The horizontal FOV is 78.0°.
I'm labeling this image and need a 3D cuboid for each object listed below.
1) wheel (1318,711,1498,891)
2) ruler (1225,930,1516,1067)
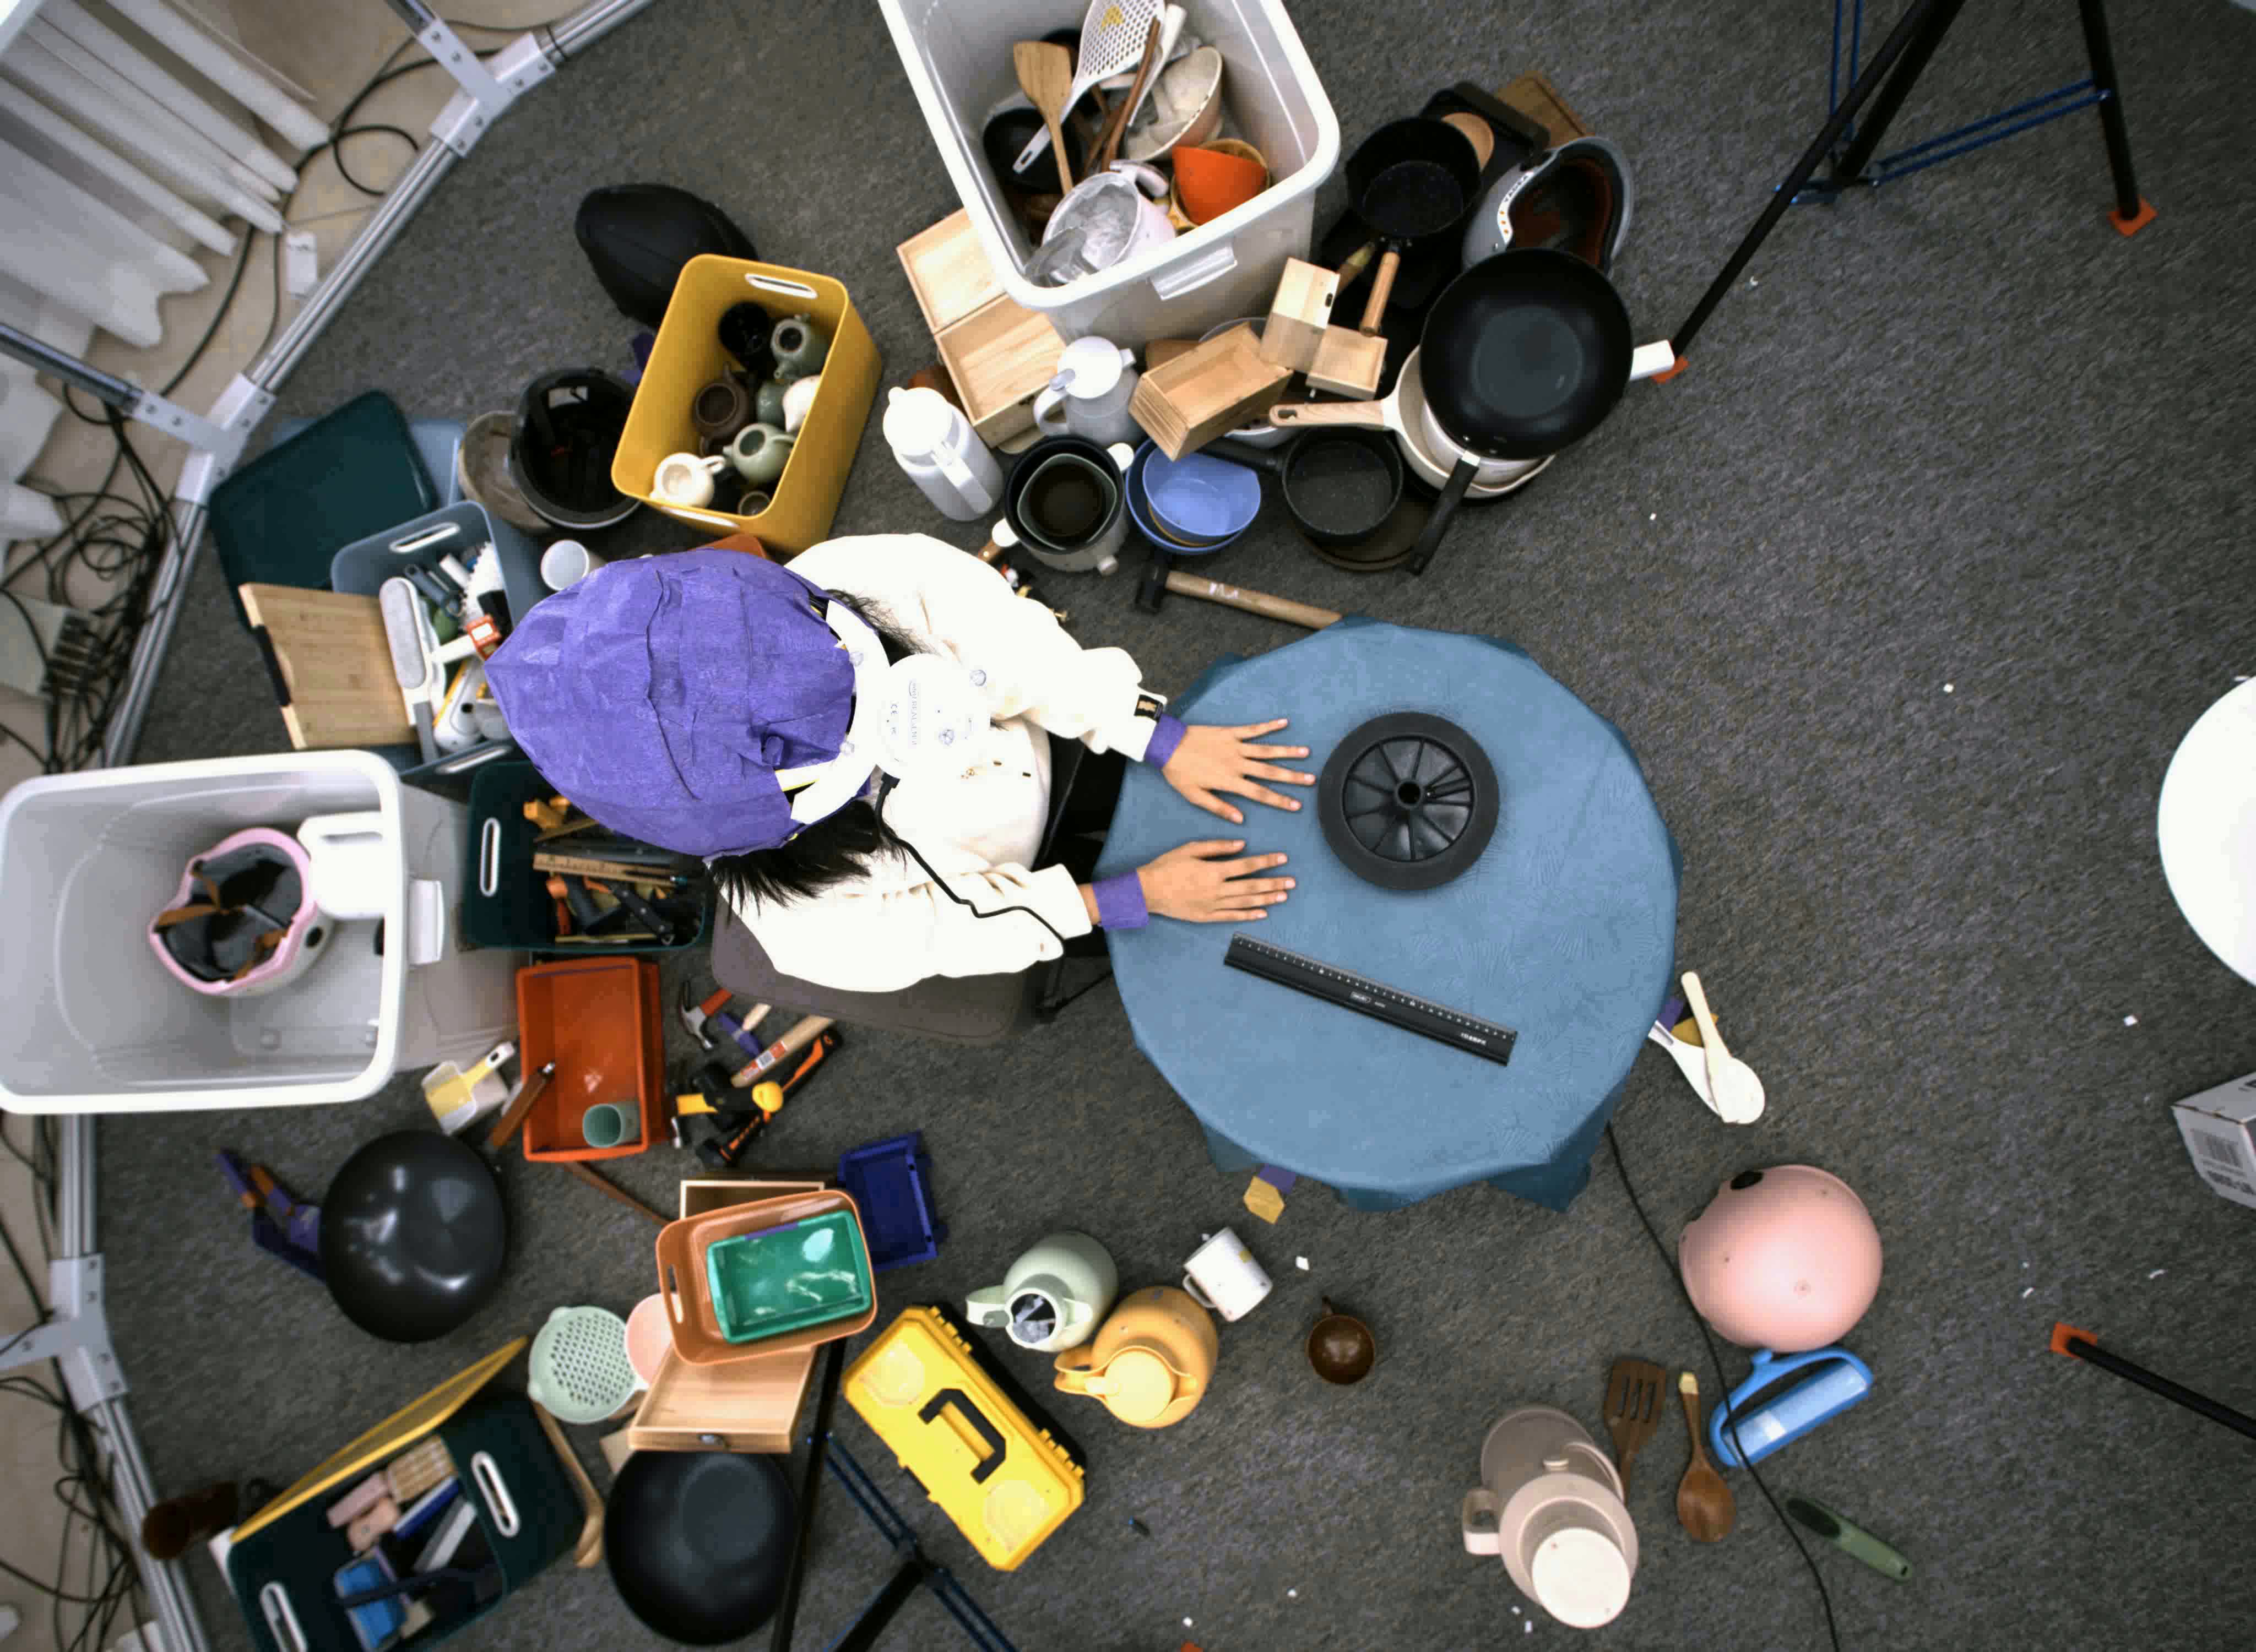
[{"bbox_3d":[0.290,-0.031,1.423,0.191,0.079,0.186,-39,81,6],"label":"wheel"},{"bbox_3d":[0.253,0.178,1.450,0.312,0.017,0.039,20,87,12],"label":"ruler"}]
